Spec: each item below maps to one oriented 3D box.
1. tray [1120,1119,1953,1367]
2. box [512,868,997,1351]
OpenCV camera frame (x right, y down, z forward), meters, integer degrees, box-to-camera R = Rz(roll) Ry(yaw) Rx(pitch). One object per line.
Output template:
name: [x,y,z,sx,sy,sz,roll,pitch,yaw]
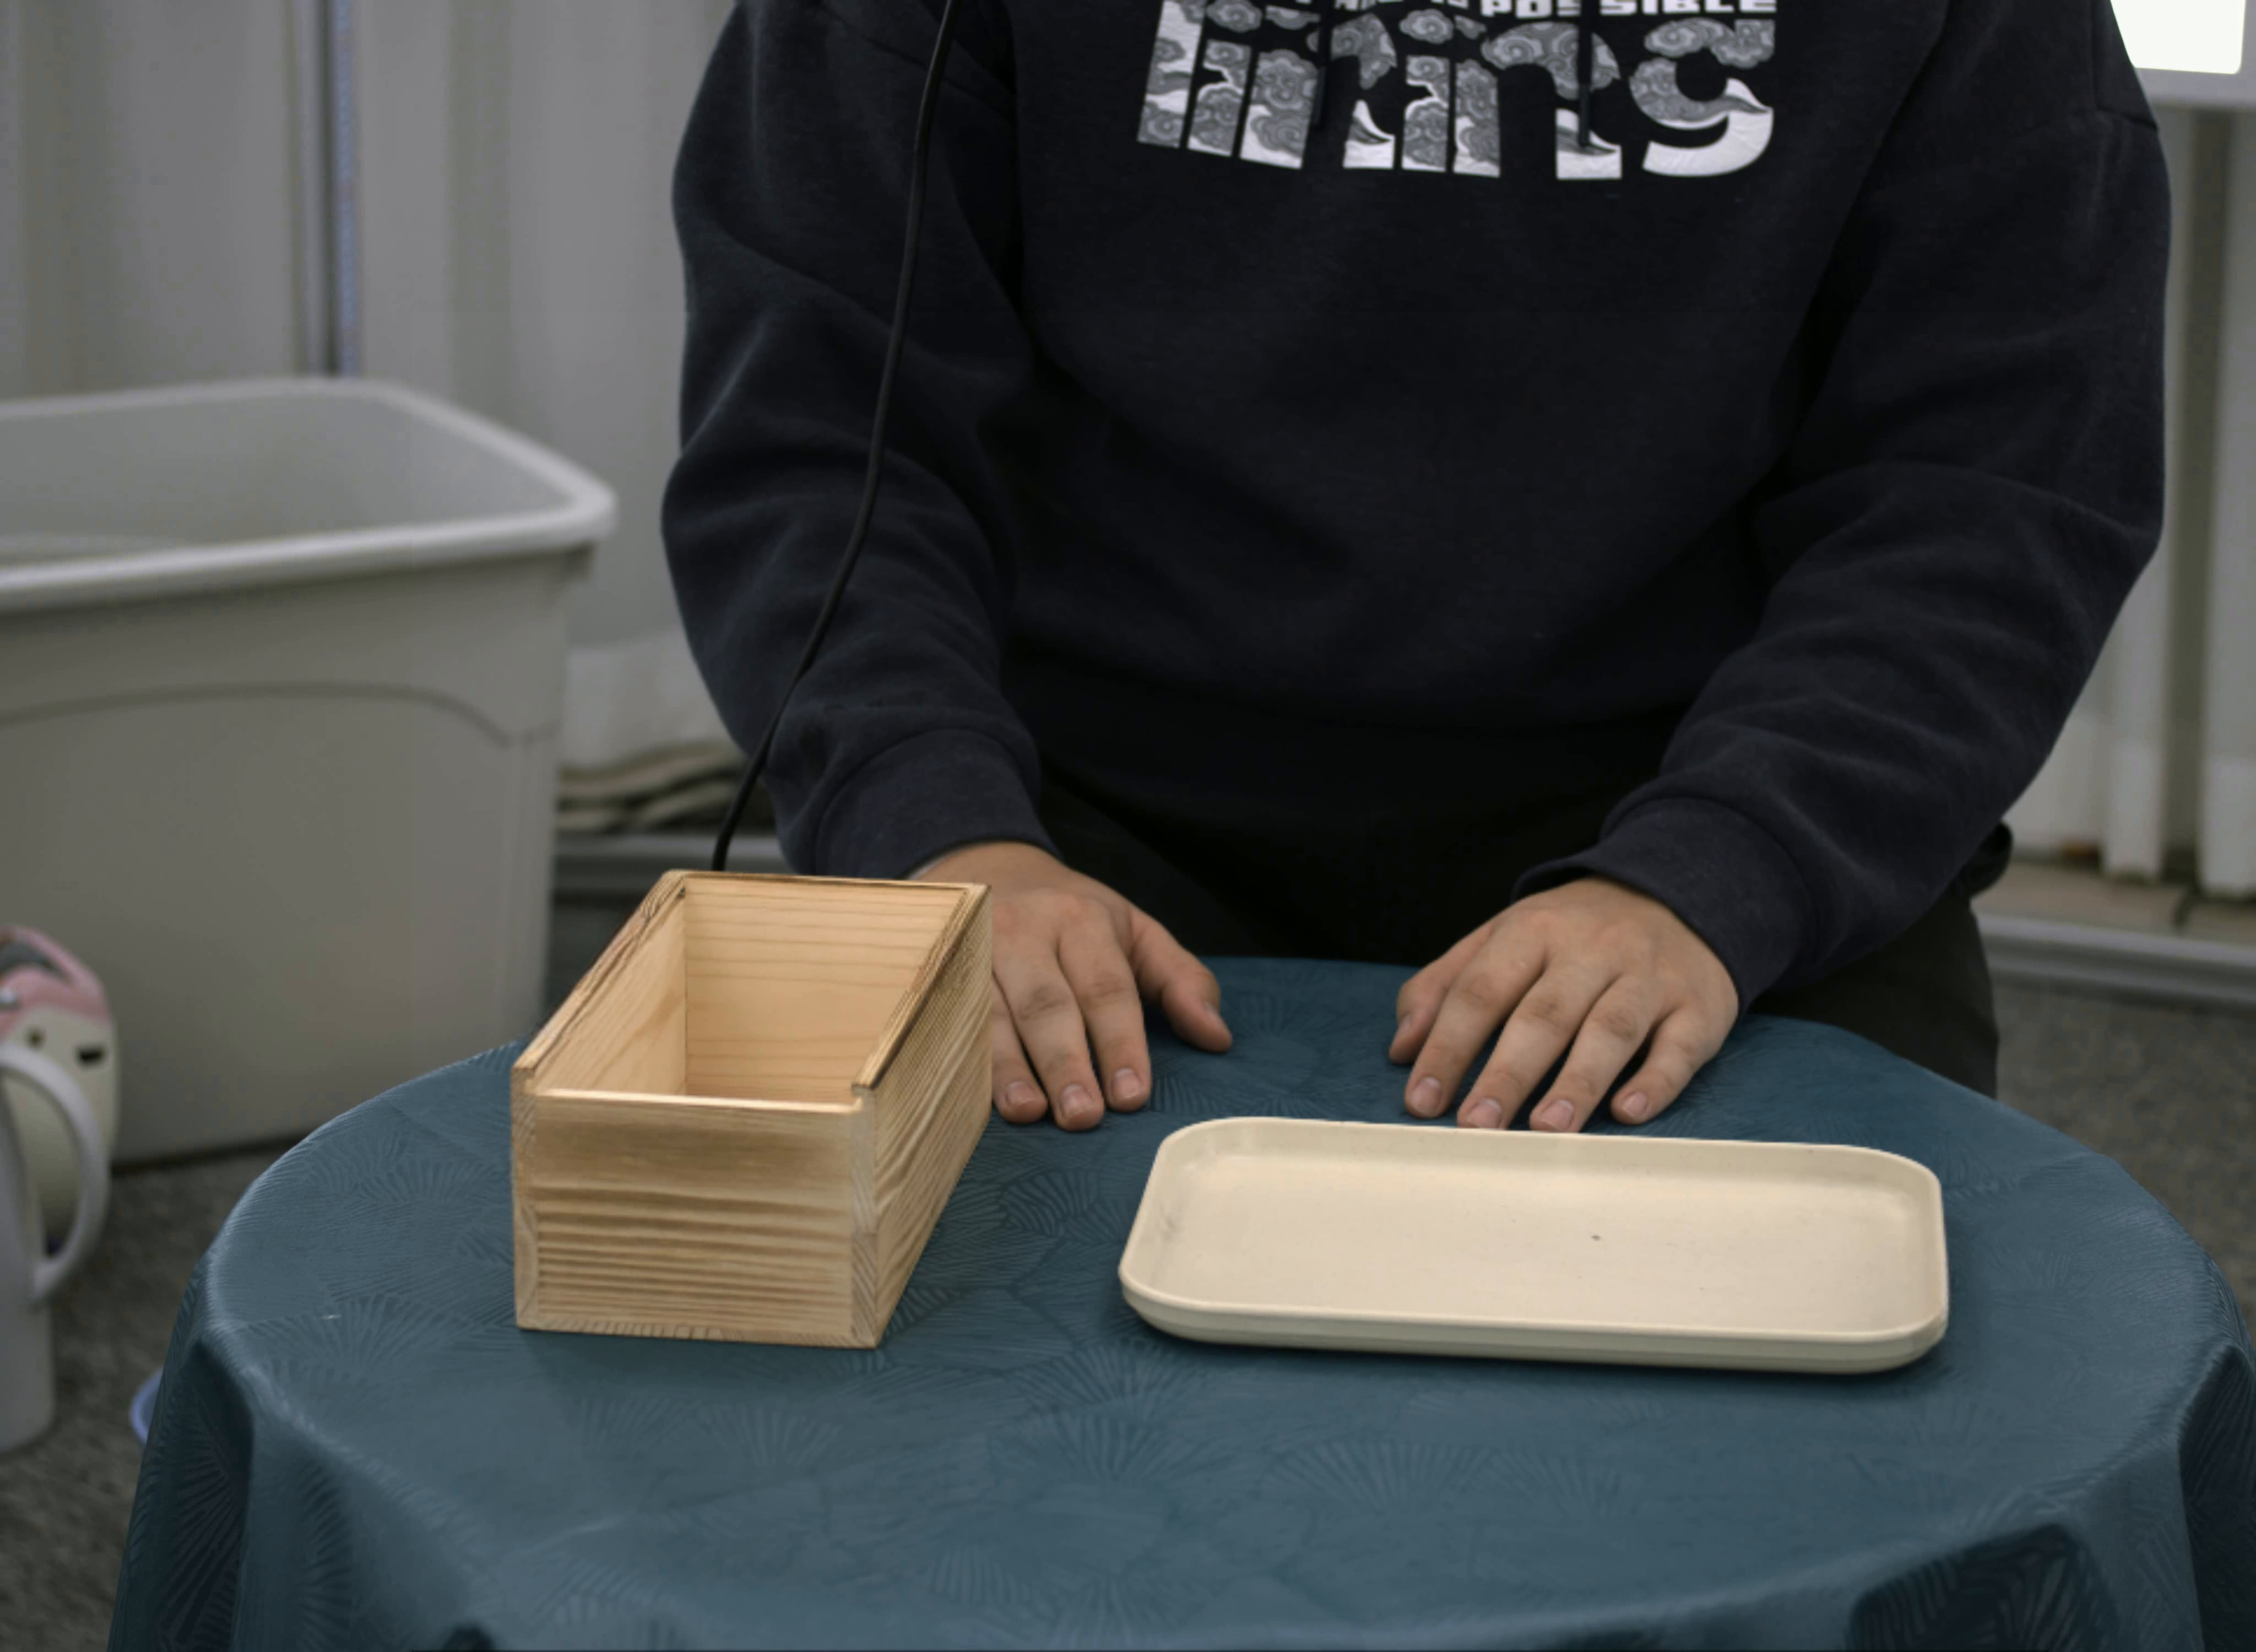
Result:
tray: [0.122,0.123,1.560,0.238,0.017,0.171,2,15,5]
box: [-0.108,0.081,1.585,0.107,0.081,0.211,3,15,7]
